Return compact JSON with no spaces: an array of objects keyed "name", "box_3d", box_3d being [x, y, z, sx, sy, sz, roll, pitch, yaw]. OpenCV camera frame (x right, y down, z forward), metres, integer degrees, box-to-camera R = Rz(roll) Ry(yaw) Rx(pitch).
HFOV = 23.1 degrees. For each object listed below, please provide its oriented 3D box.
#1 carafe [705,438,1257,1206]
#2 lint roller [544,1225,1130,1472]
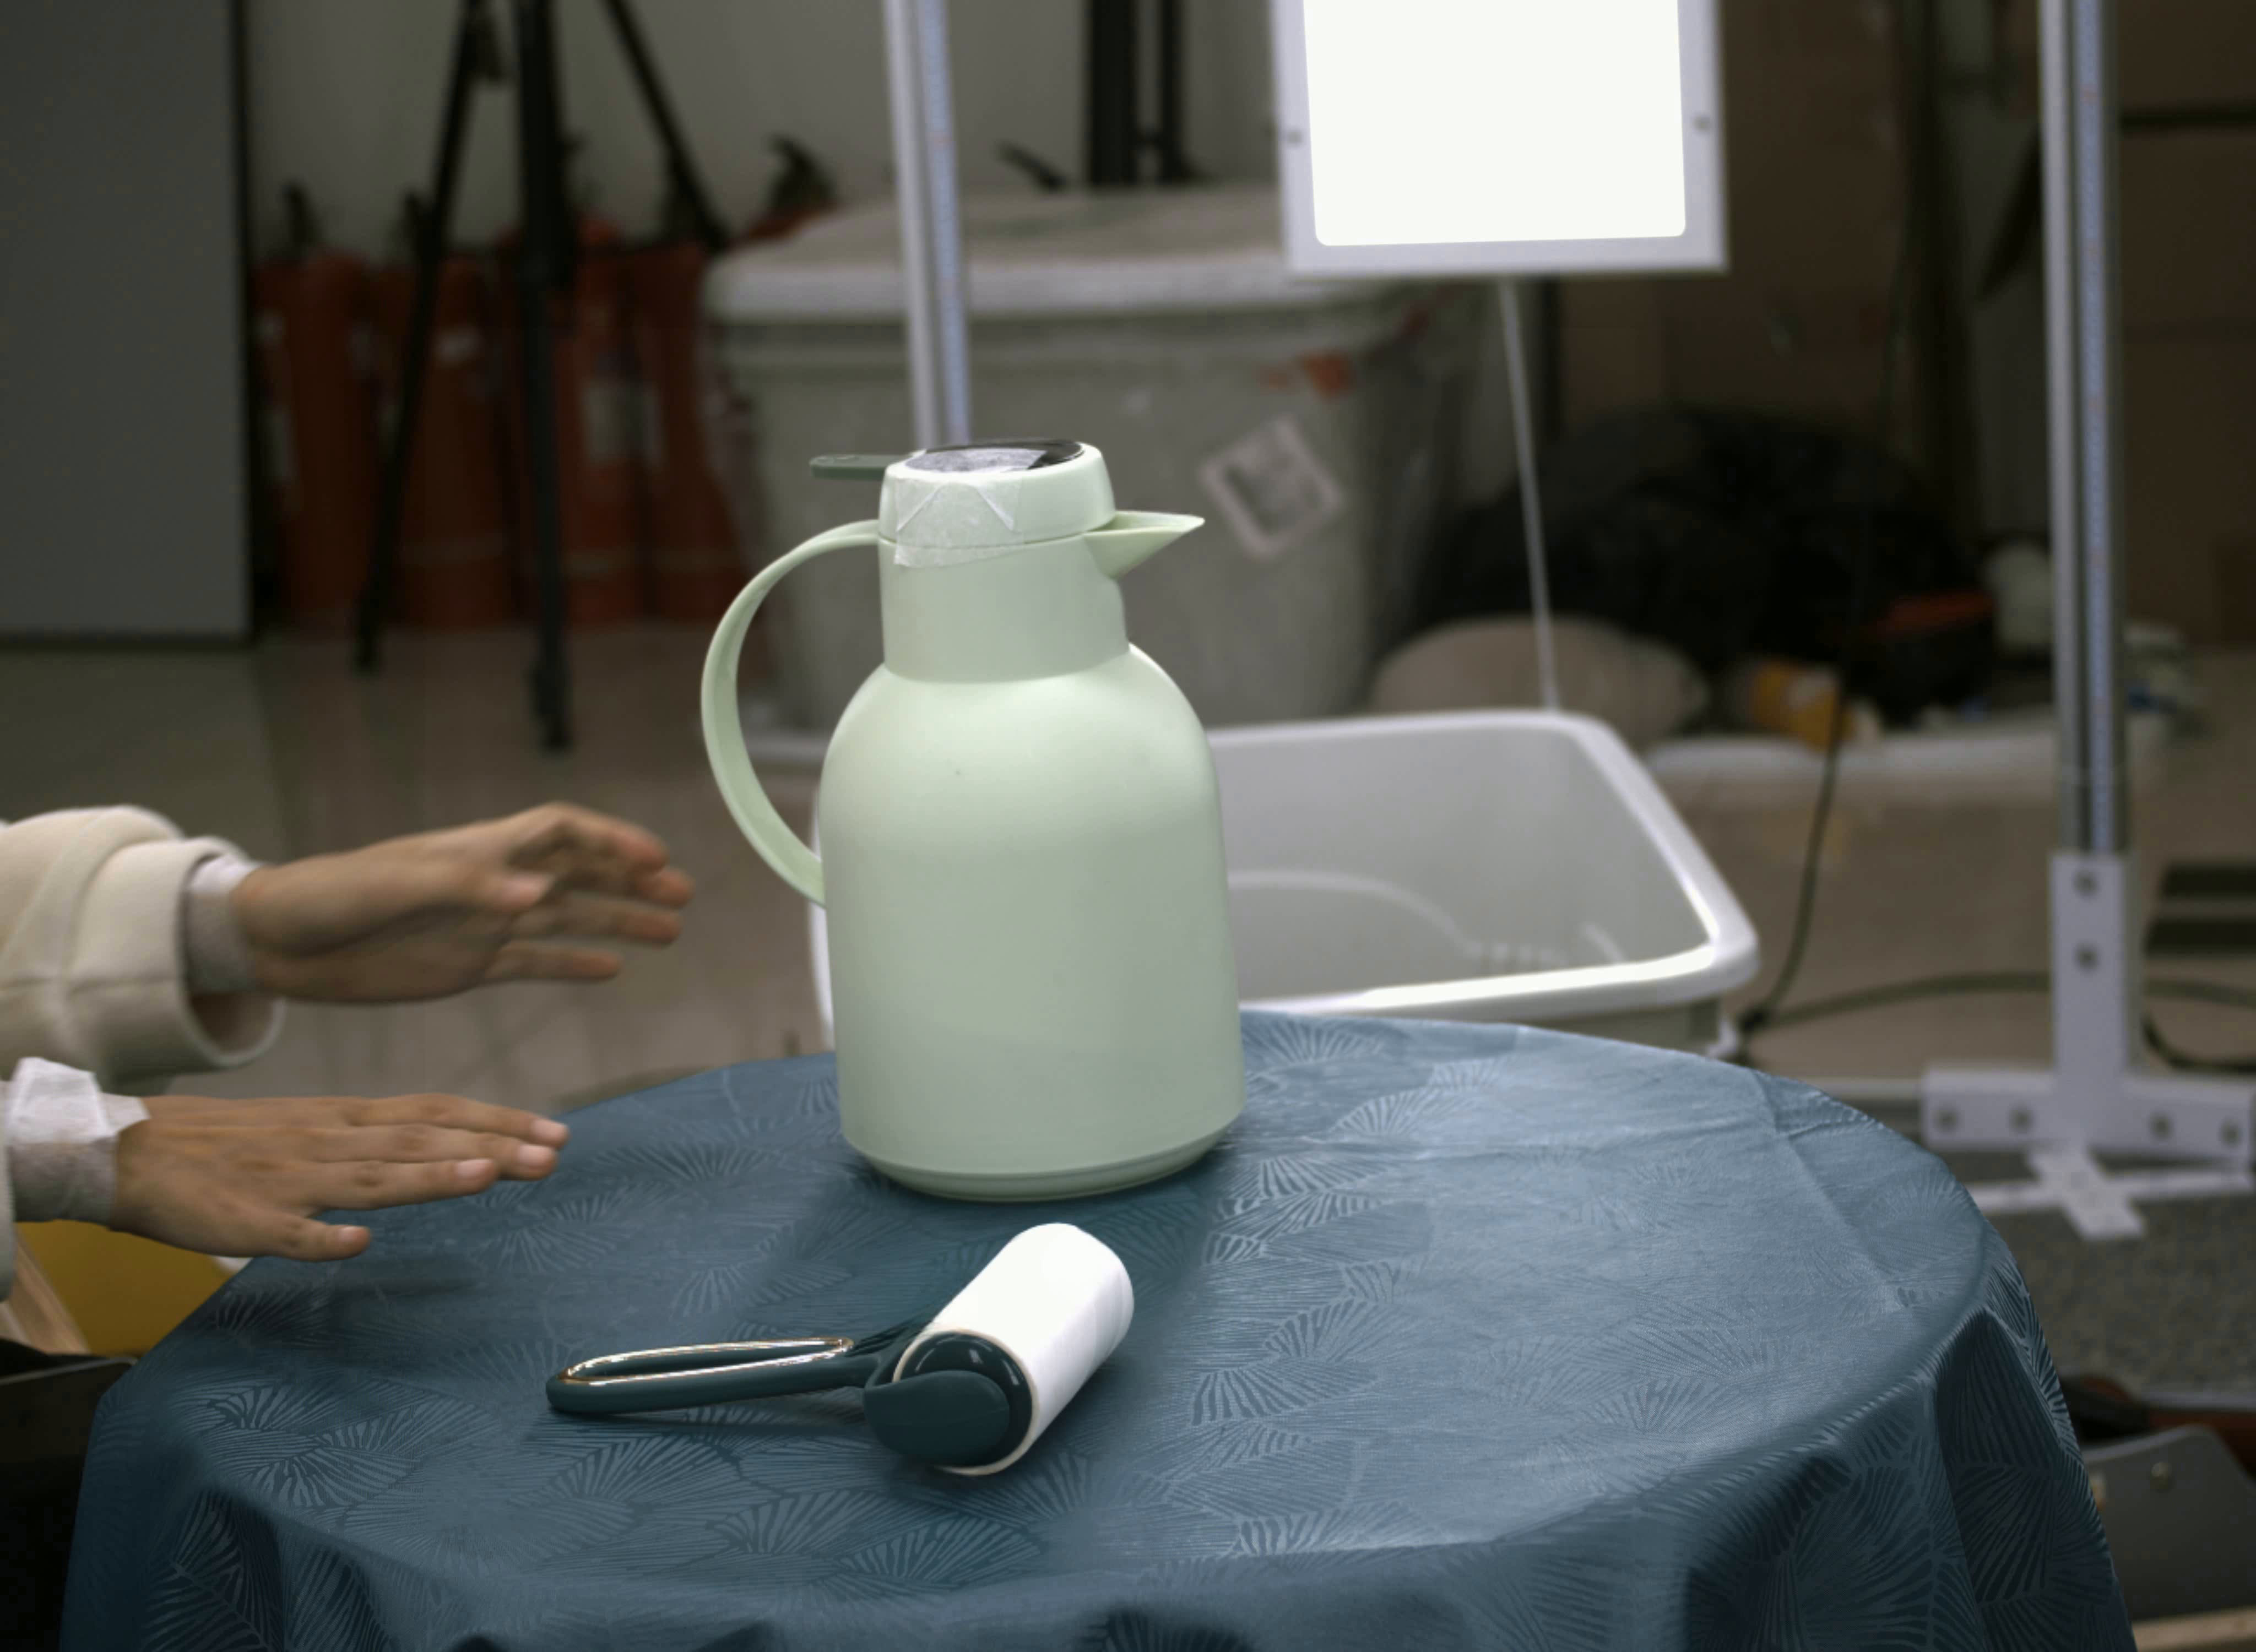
[{"name":"carafe","box_3d":[-0.050,-0.005,1.930,0.189,0.257,0.142,-4,15,19]},{"name":"lint roller","box_3d":[-0.098,0.158,1.703,0.182,0.048,0.132,0,14,19]}]
